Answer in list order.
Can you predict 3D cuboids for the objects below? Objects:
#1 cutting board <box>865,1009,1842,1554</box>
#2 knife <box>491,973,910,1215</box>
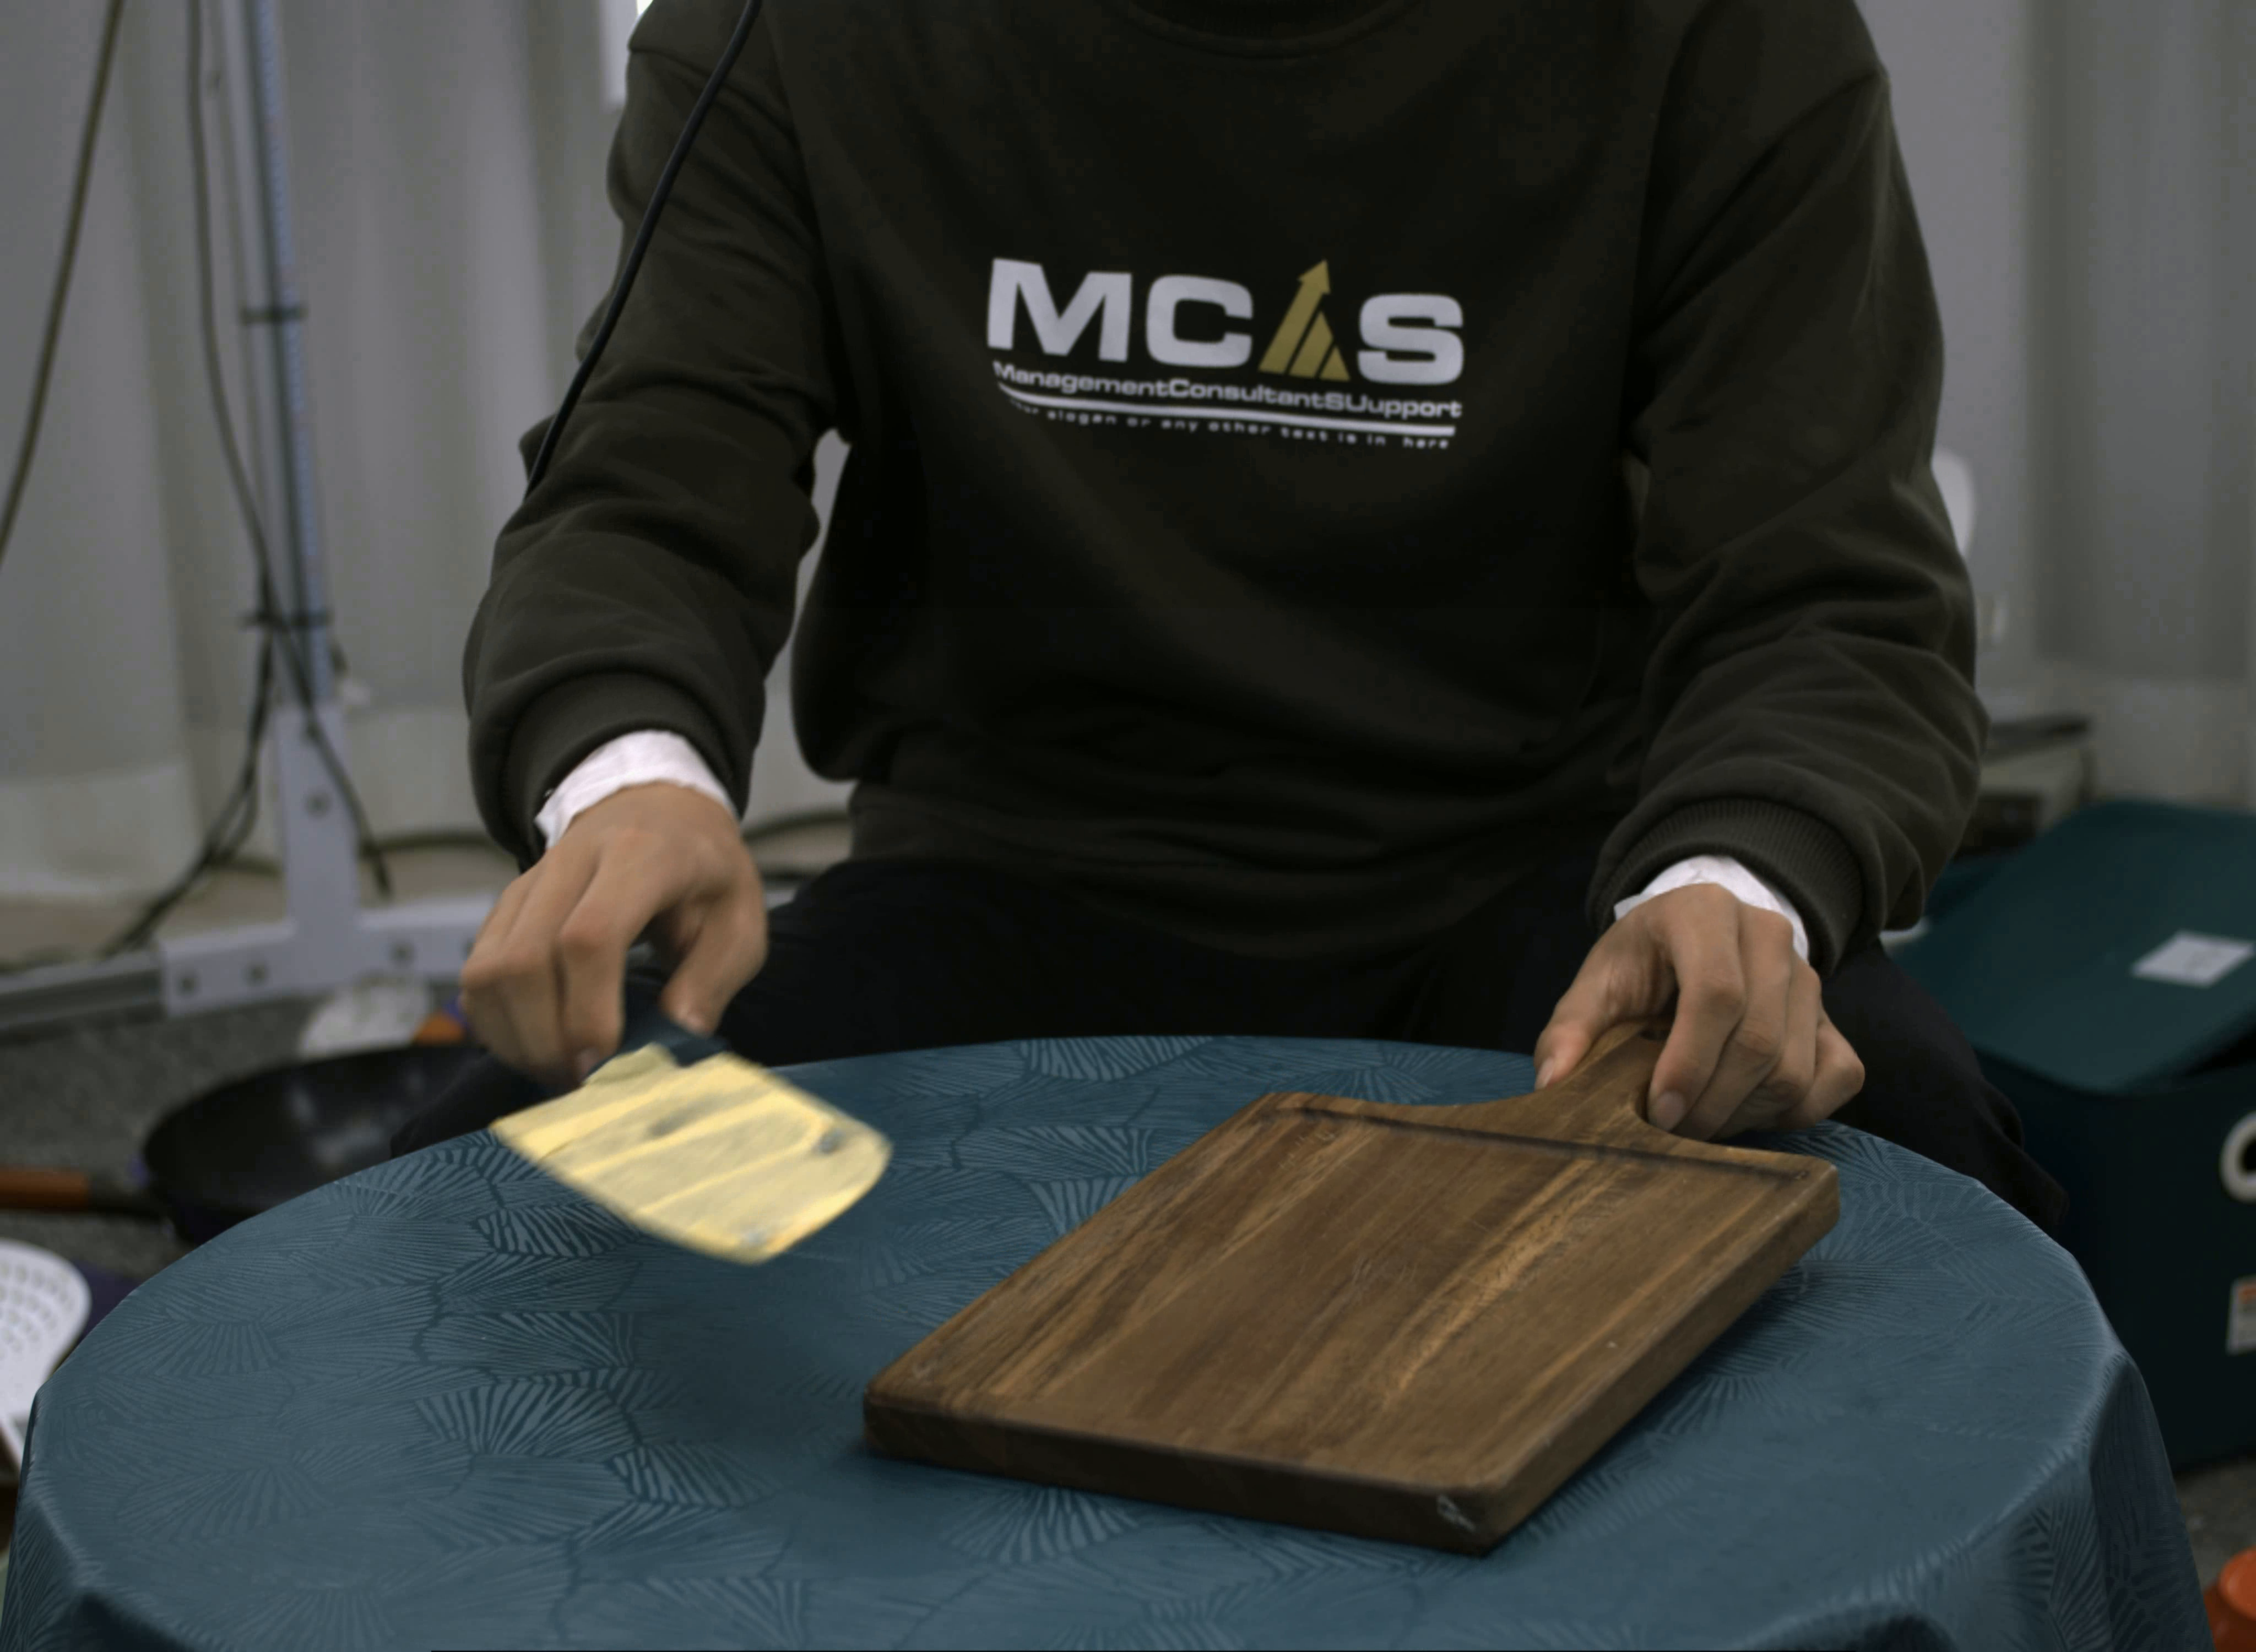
[{"bbox_3d":[0.093,0.121,1.599,0.201,0.023,0.353,6,20,28],"label":"cutting board"},{"bbox_3d":[-0.139,0.079,1.595,0.081,0.027,0.291,-17,15,-22],"label":"knife"}]
